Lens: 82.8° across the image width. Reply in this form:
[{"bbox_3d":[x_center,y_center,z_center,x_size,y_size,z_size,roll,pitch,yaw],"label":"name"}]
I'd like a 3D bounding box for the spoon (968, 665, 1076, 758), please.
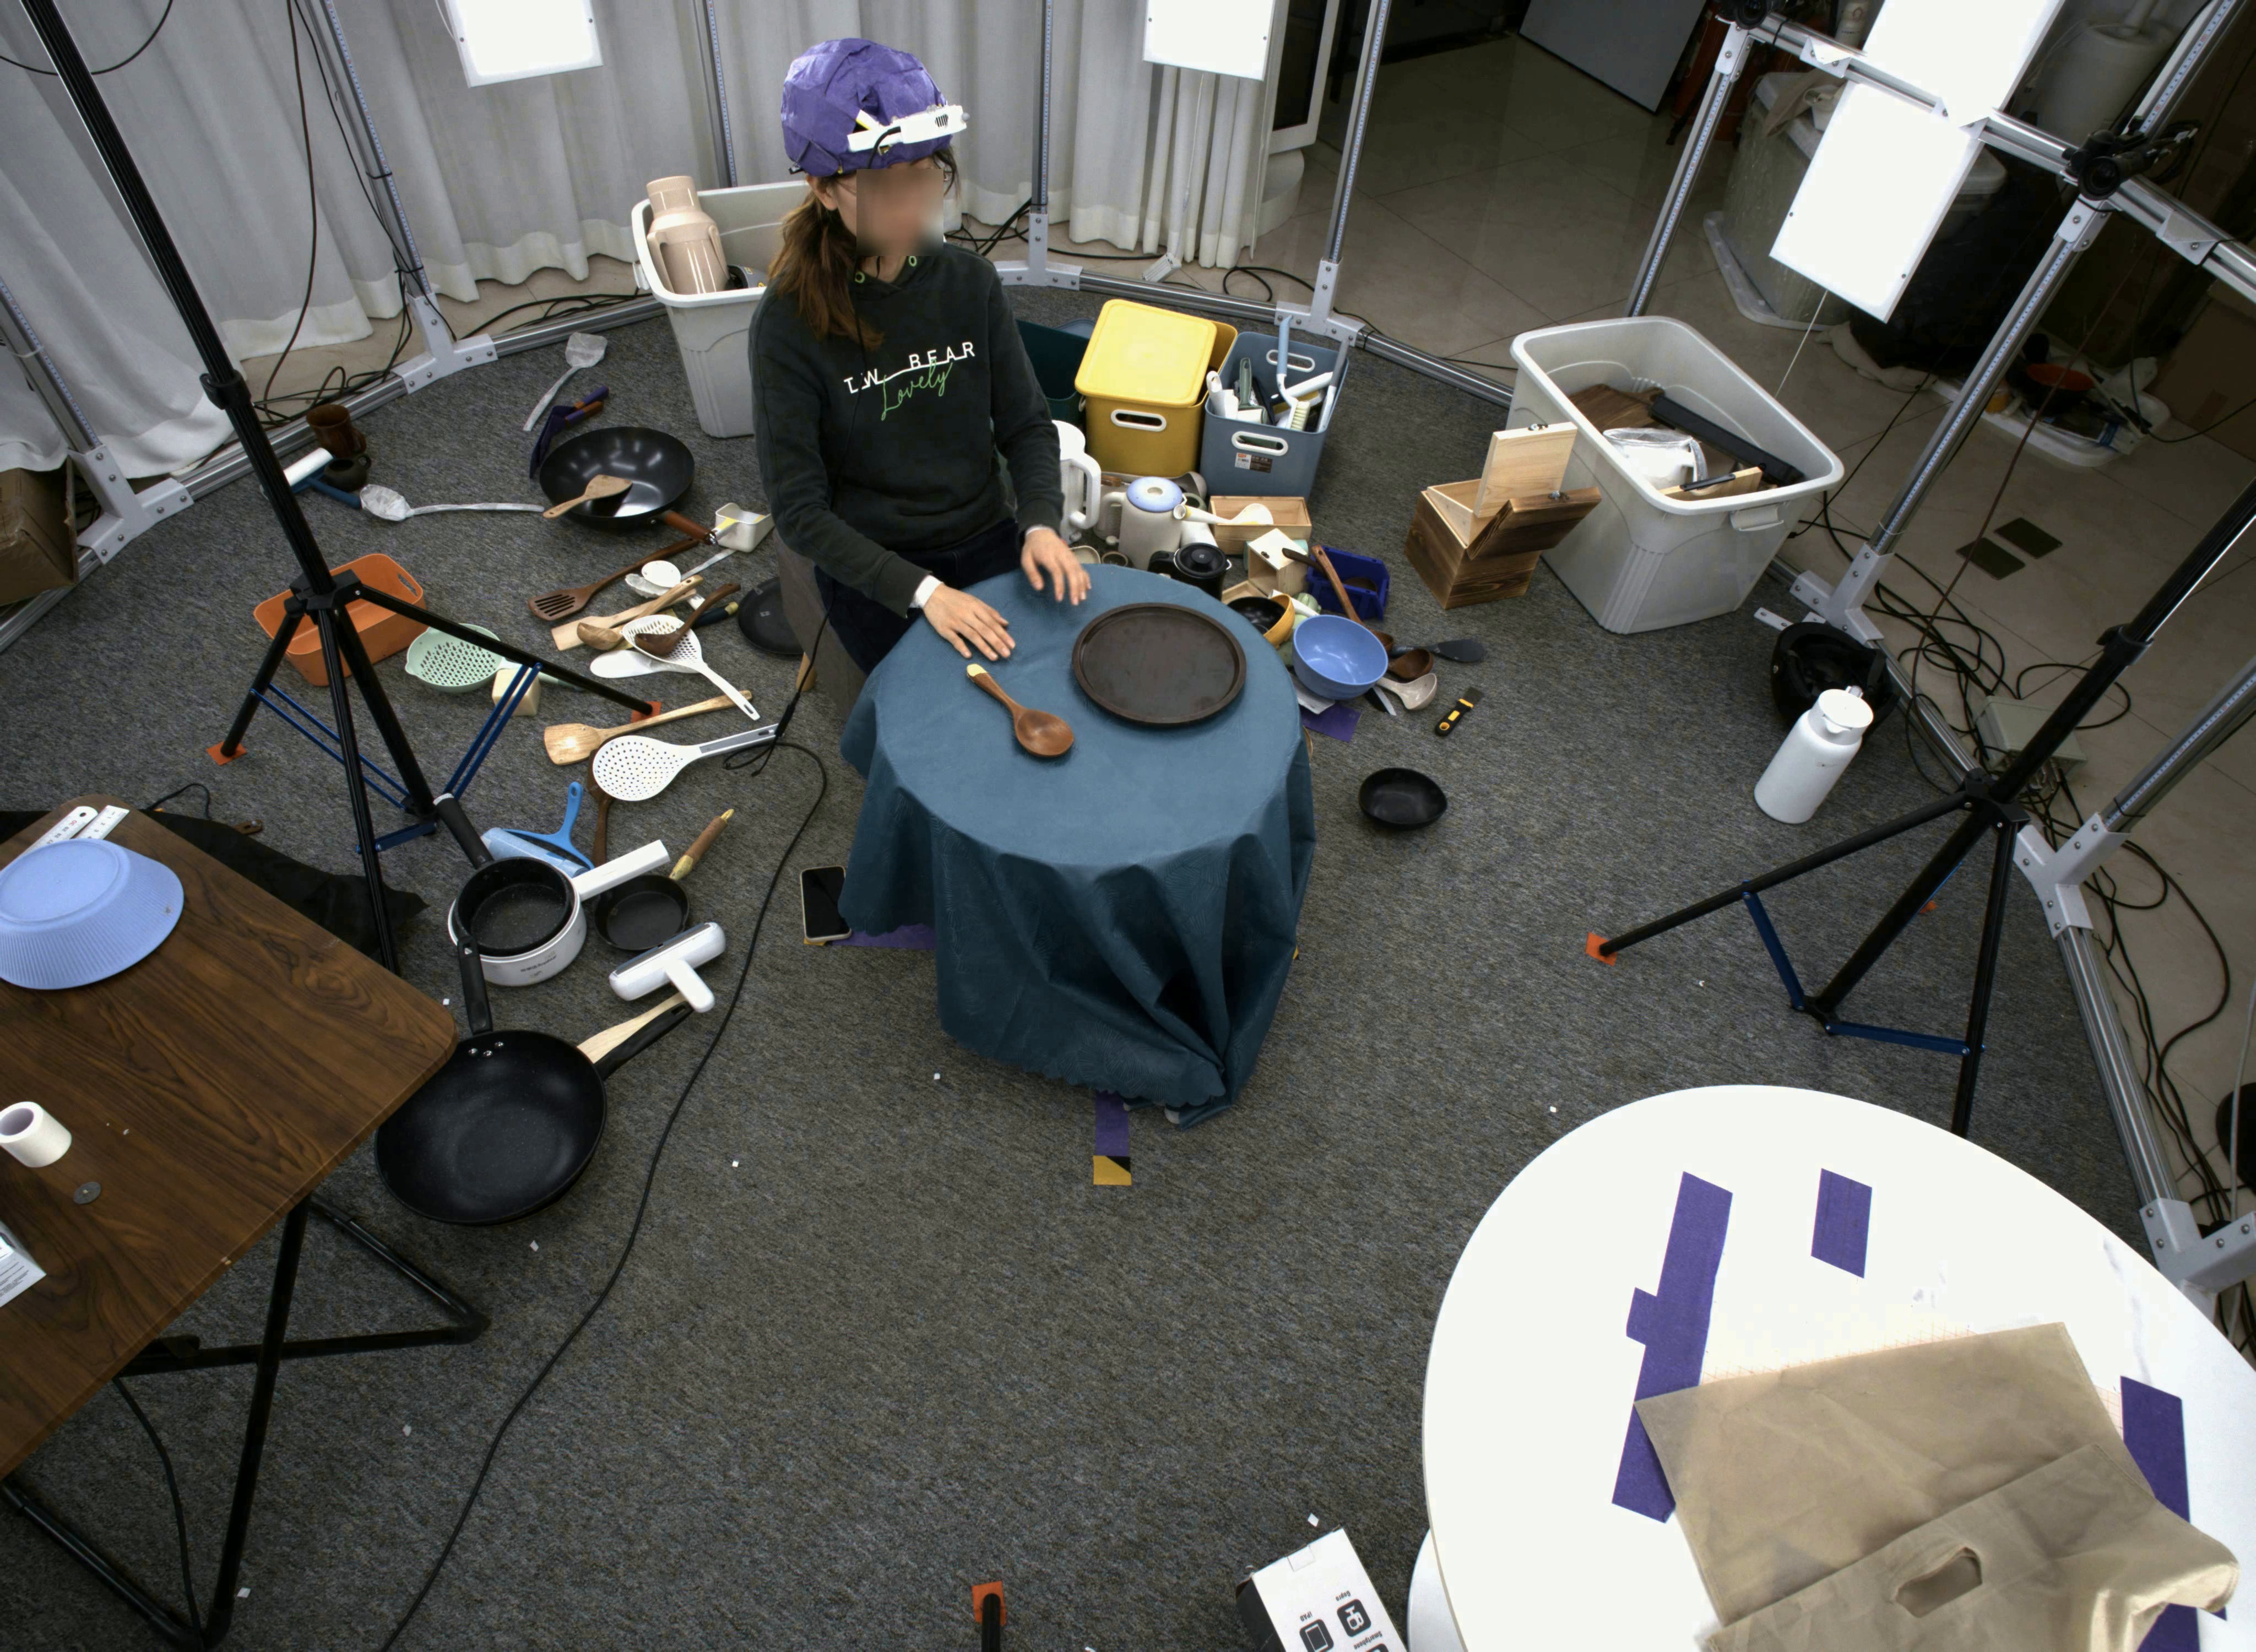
[{"bbox_3d":[-0.154,-0.162,1.804,0.076,0.017,0.219,-31,58,-27],"label":"spoon"}]

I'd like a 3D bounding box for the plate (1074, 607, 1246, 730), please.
[{"bbox_3d":[0.047,-0.232,1.876,0.254,0.028,0.261,3,49,-3],"label":"plate"}]
